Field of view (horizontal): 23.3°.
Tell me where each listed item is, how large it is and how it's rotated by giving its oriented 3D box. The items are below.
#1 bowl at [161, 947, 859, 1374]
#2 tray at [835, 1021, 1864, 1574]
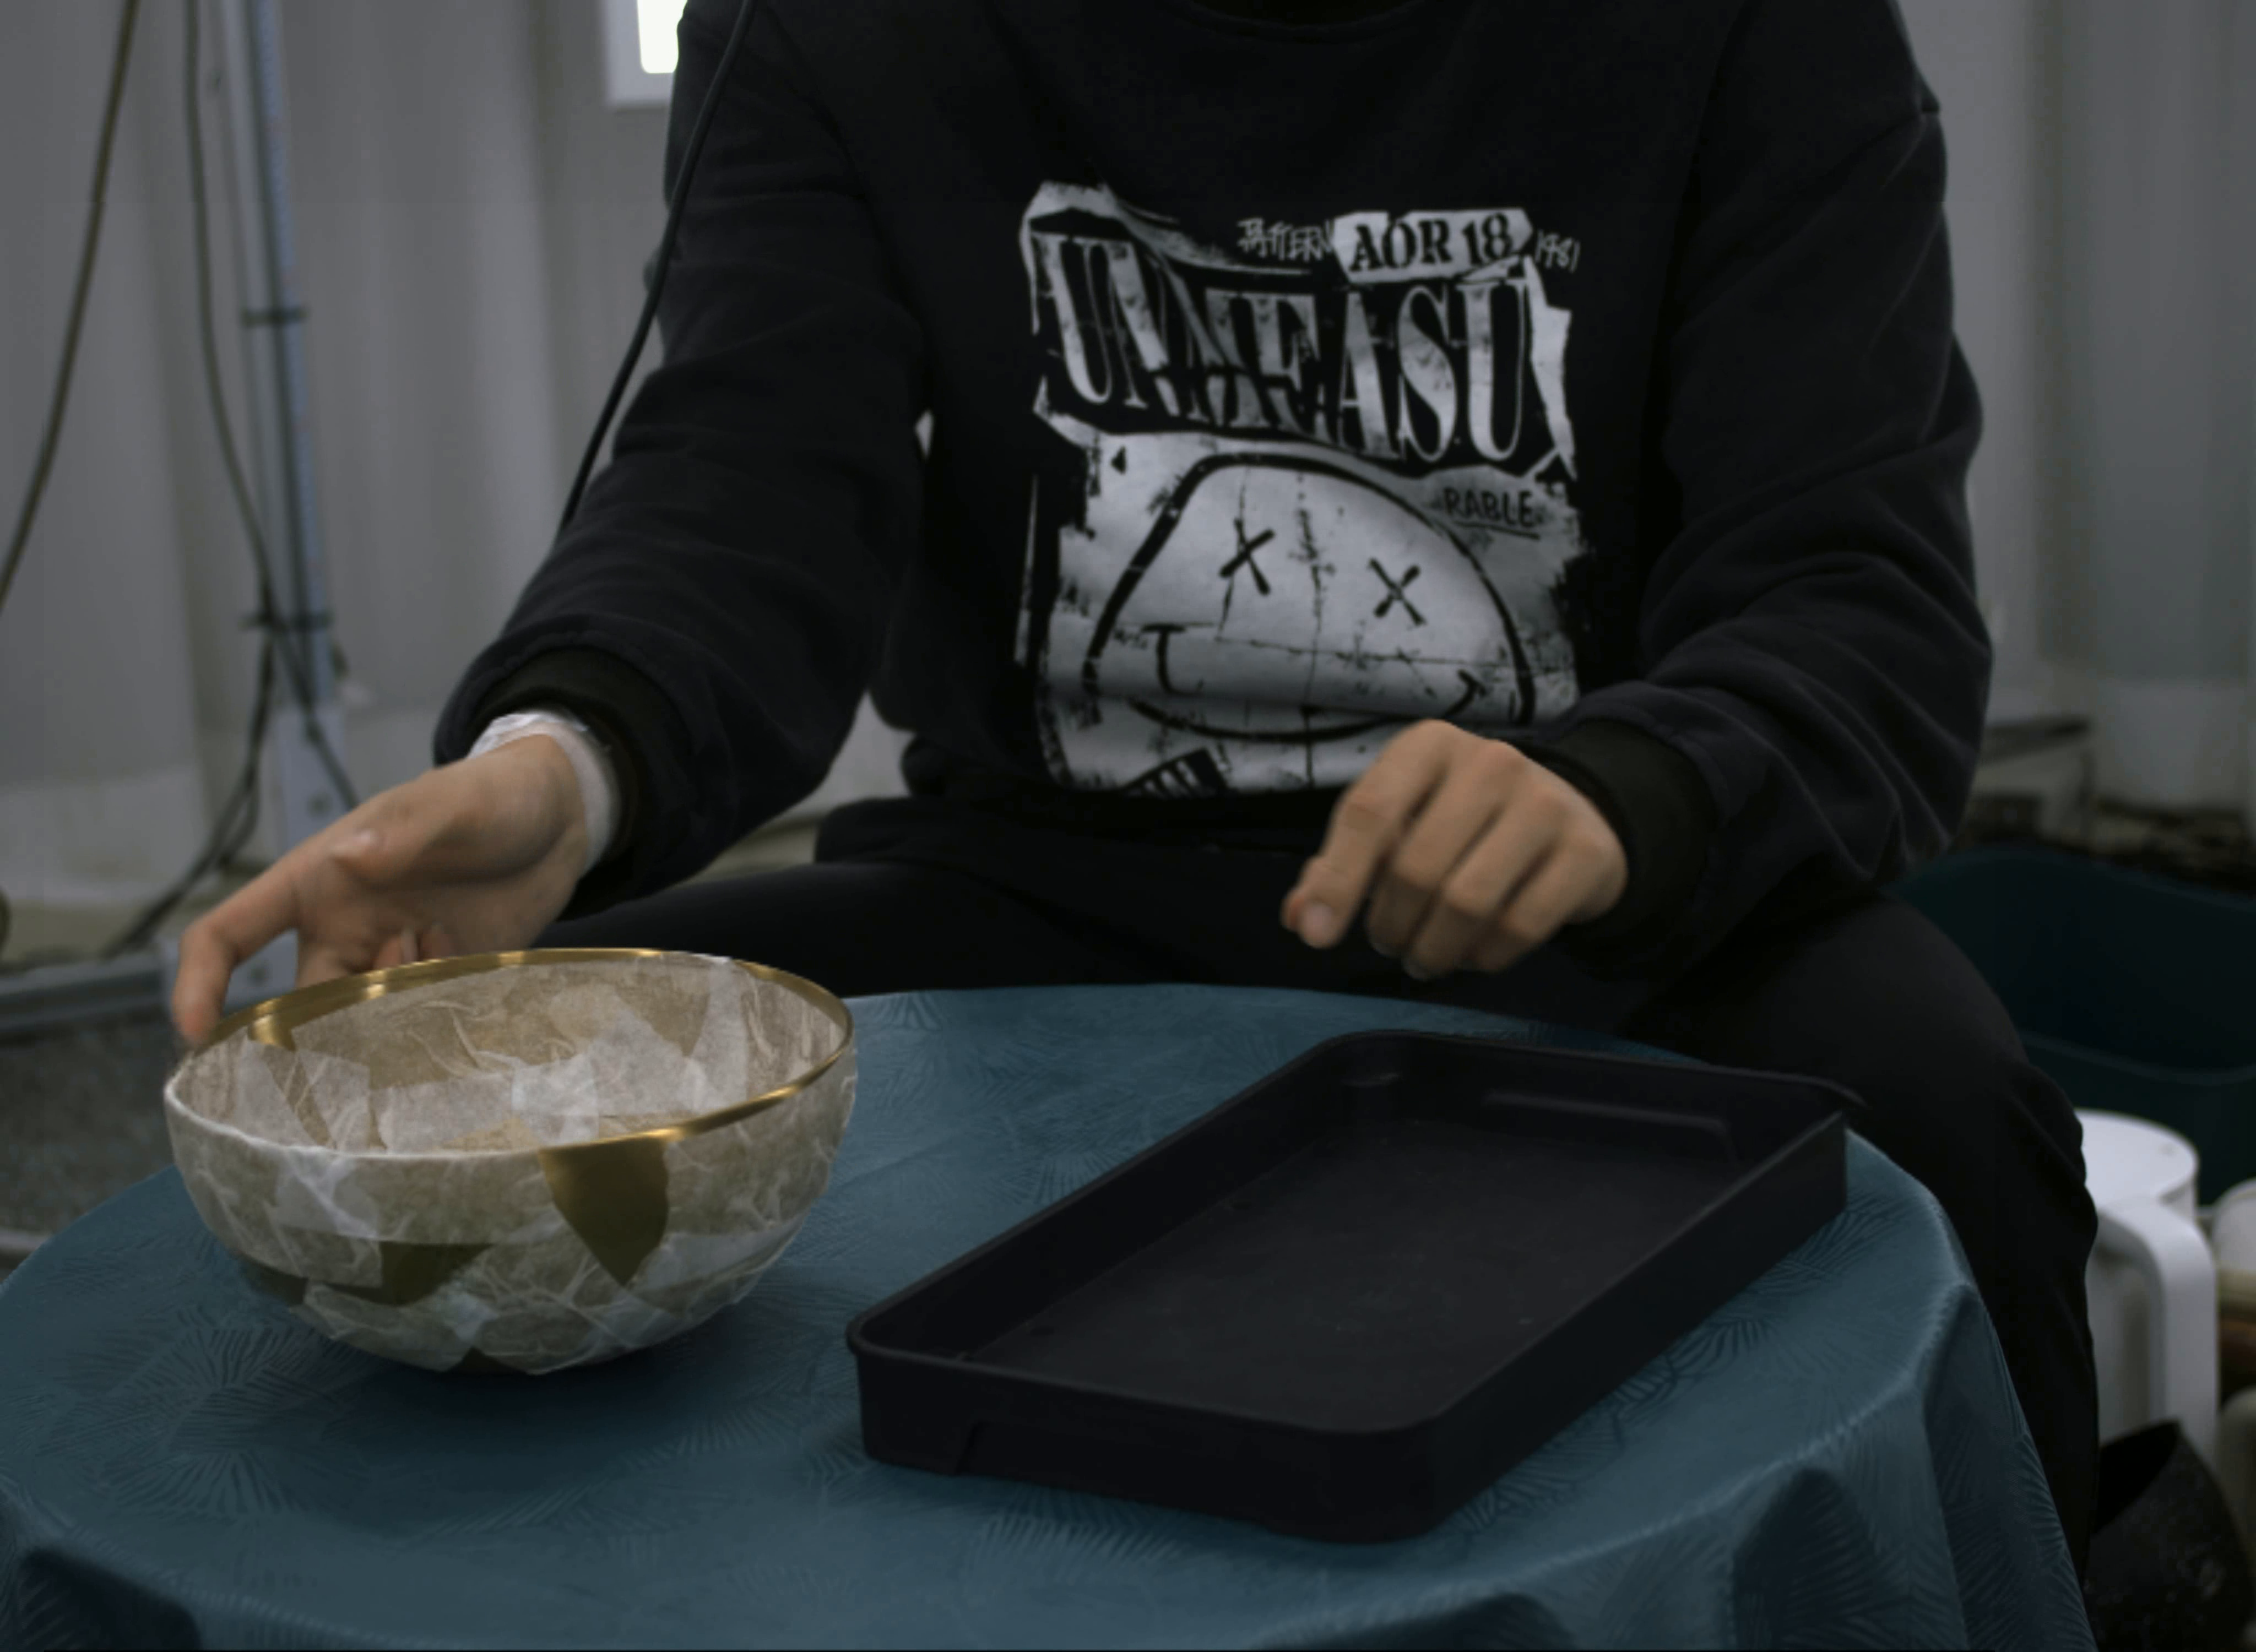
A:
[{"bbox_3d":[-0.174,0.105,1.604,0.214,0.094,0.216,-4,14,1],"label":"bowl"},{"bbox_3d":[0.072,0.129,1.588,0.185,0.037,0.318,8,20,31],"label":"tray"}]
